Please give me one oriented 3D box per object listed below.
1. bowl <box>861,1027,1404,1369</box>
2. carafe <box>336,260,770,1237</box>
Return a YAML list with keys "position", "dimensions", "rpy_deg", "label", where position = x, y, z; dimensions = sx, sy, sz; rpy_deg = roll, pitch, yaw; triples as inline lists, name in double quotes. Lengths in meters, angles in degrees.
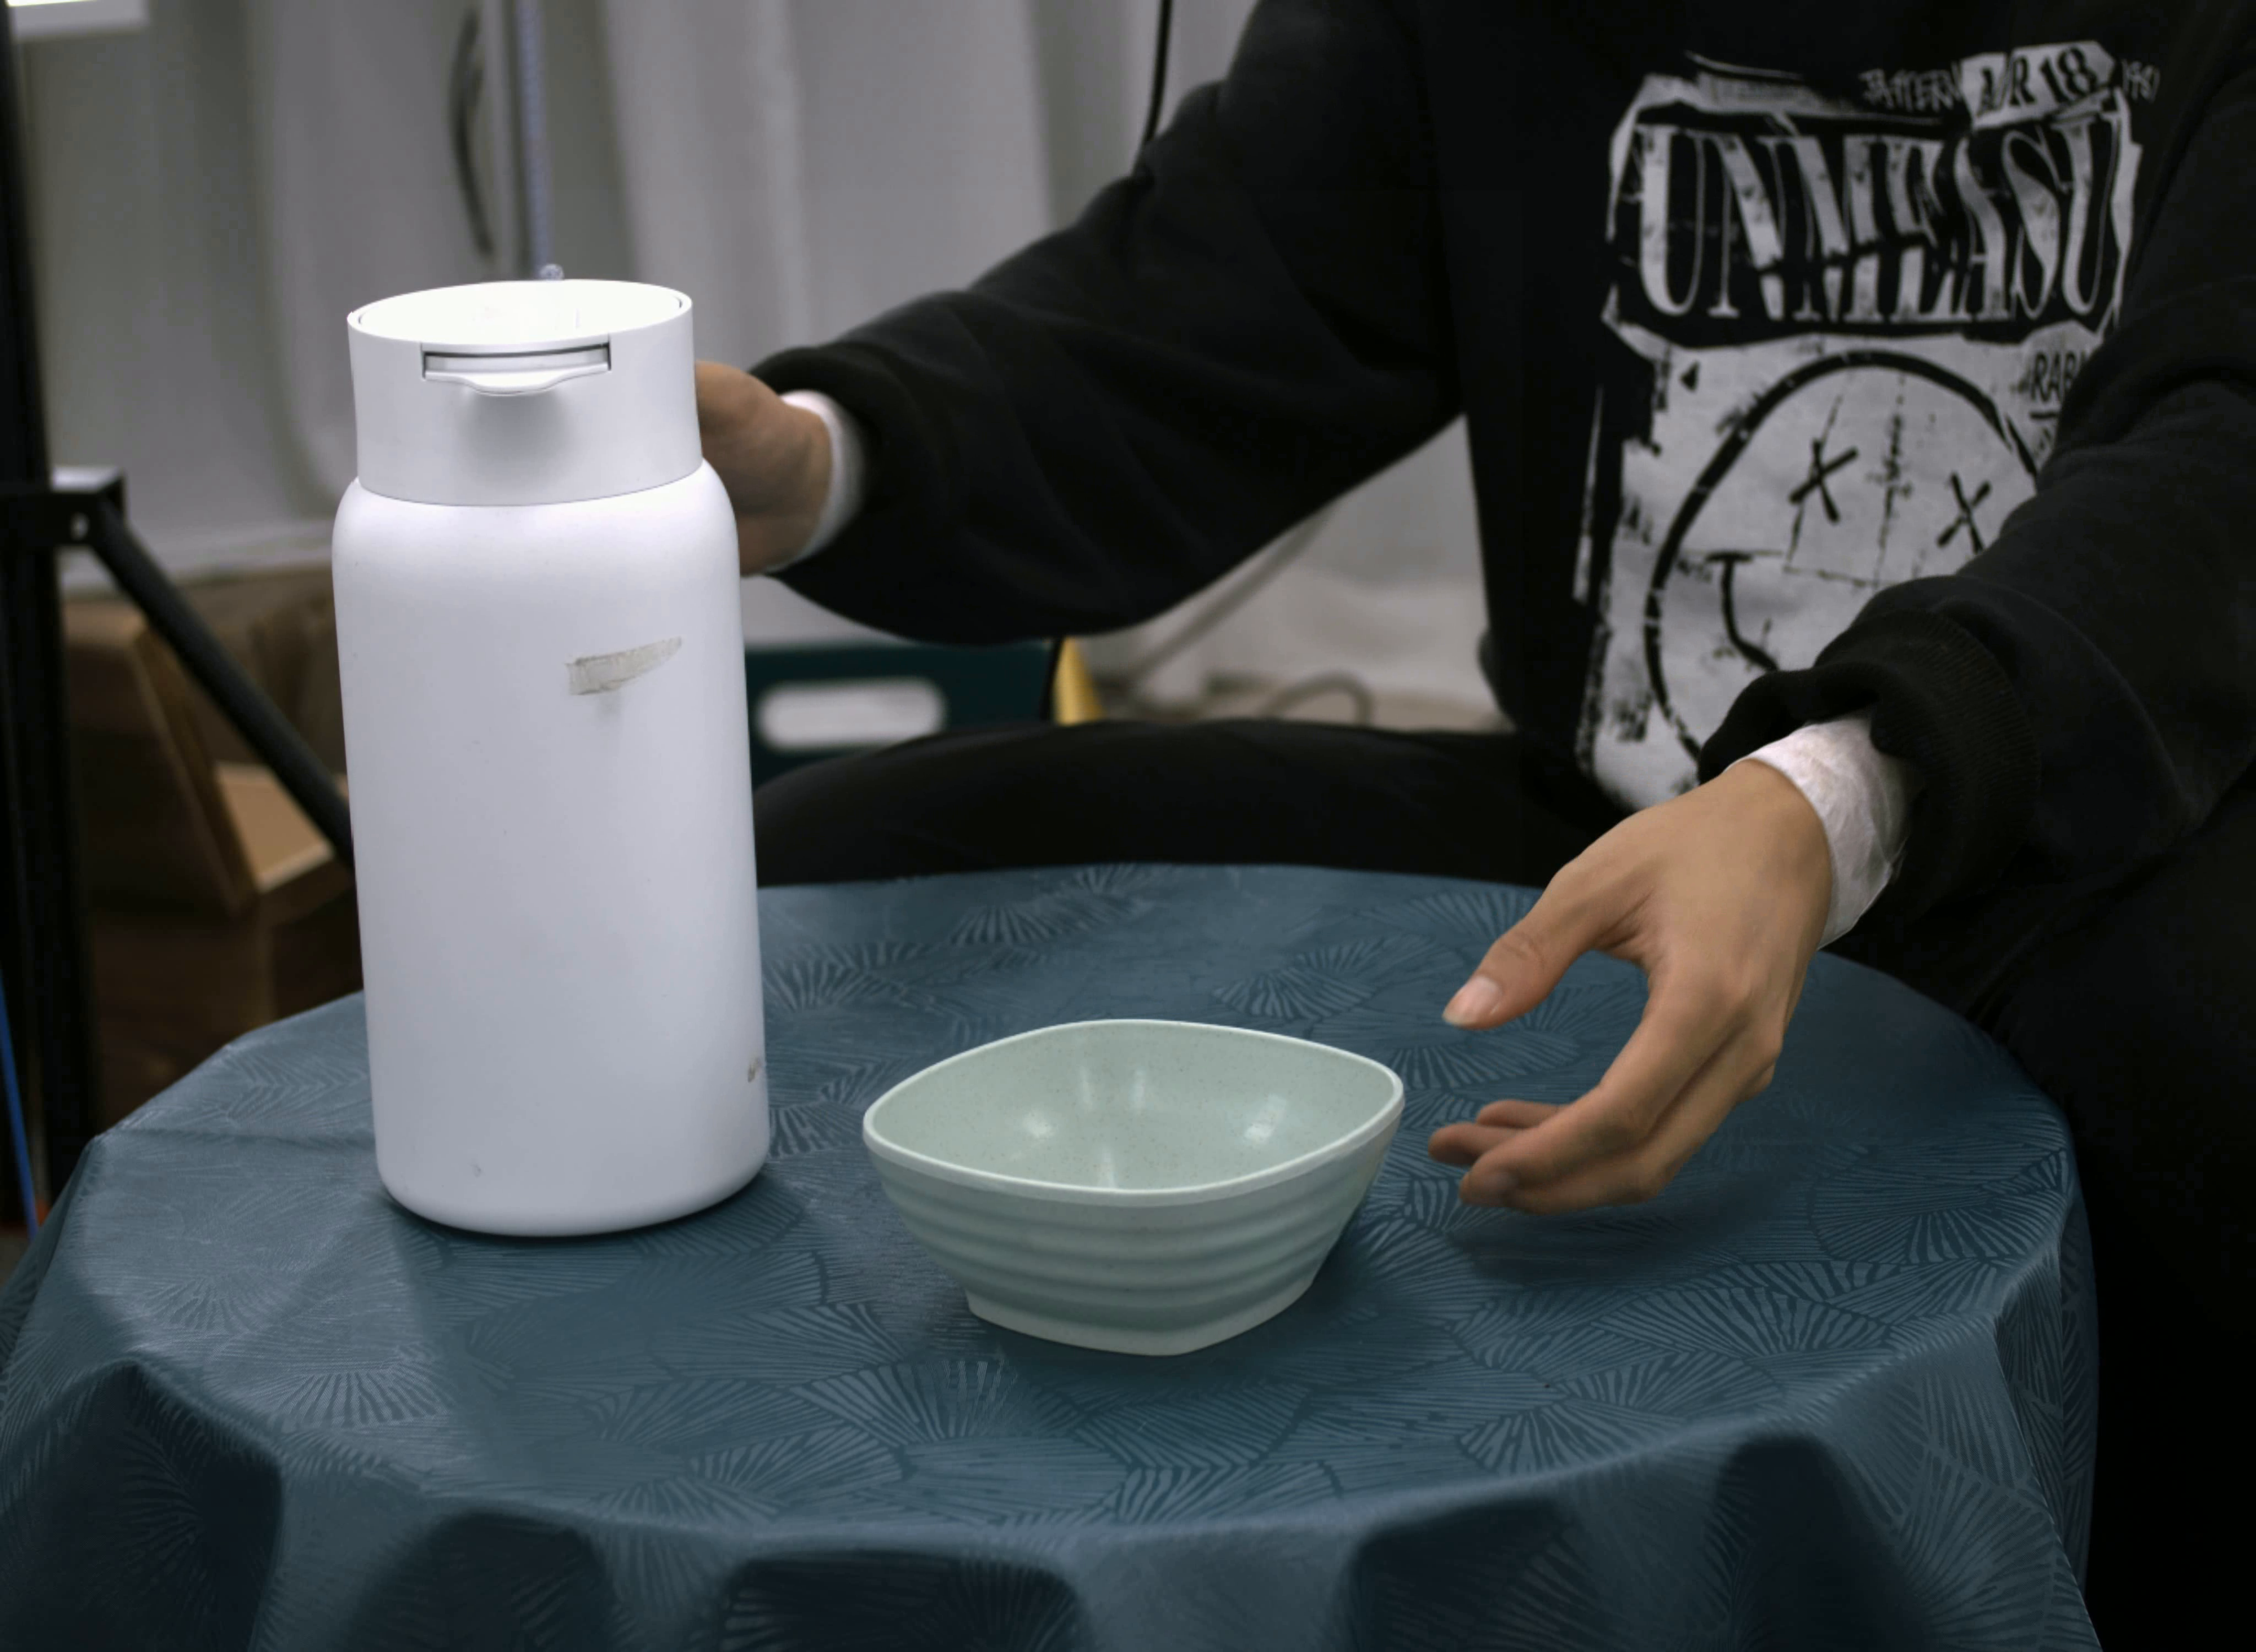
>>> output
- position: [0.002, 0.106, 1.467]
  dimensions: [0.150, 0.058, 0.152]
  rpy_deg: [-2, 15, -1]
  label: "bowl"
- position: [-0.171, -0.027, 1.572]
  dimensions: [0.123, 0.269, 0.174]
  rpy_deg: [-5, 15, -3]
  label: "carafe"
